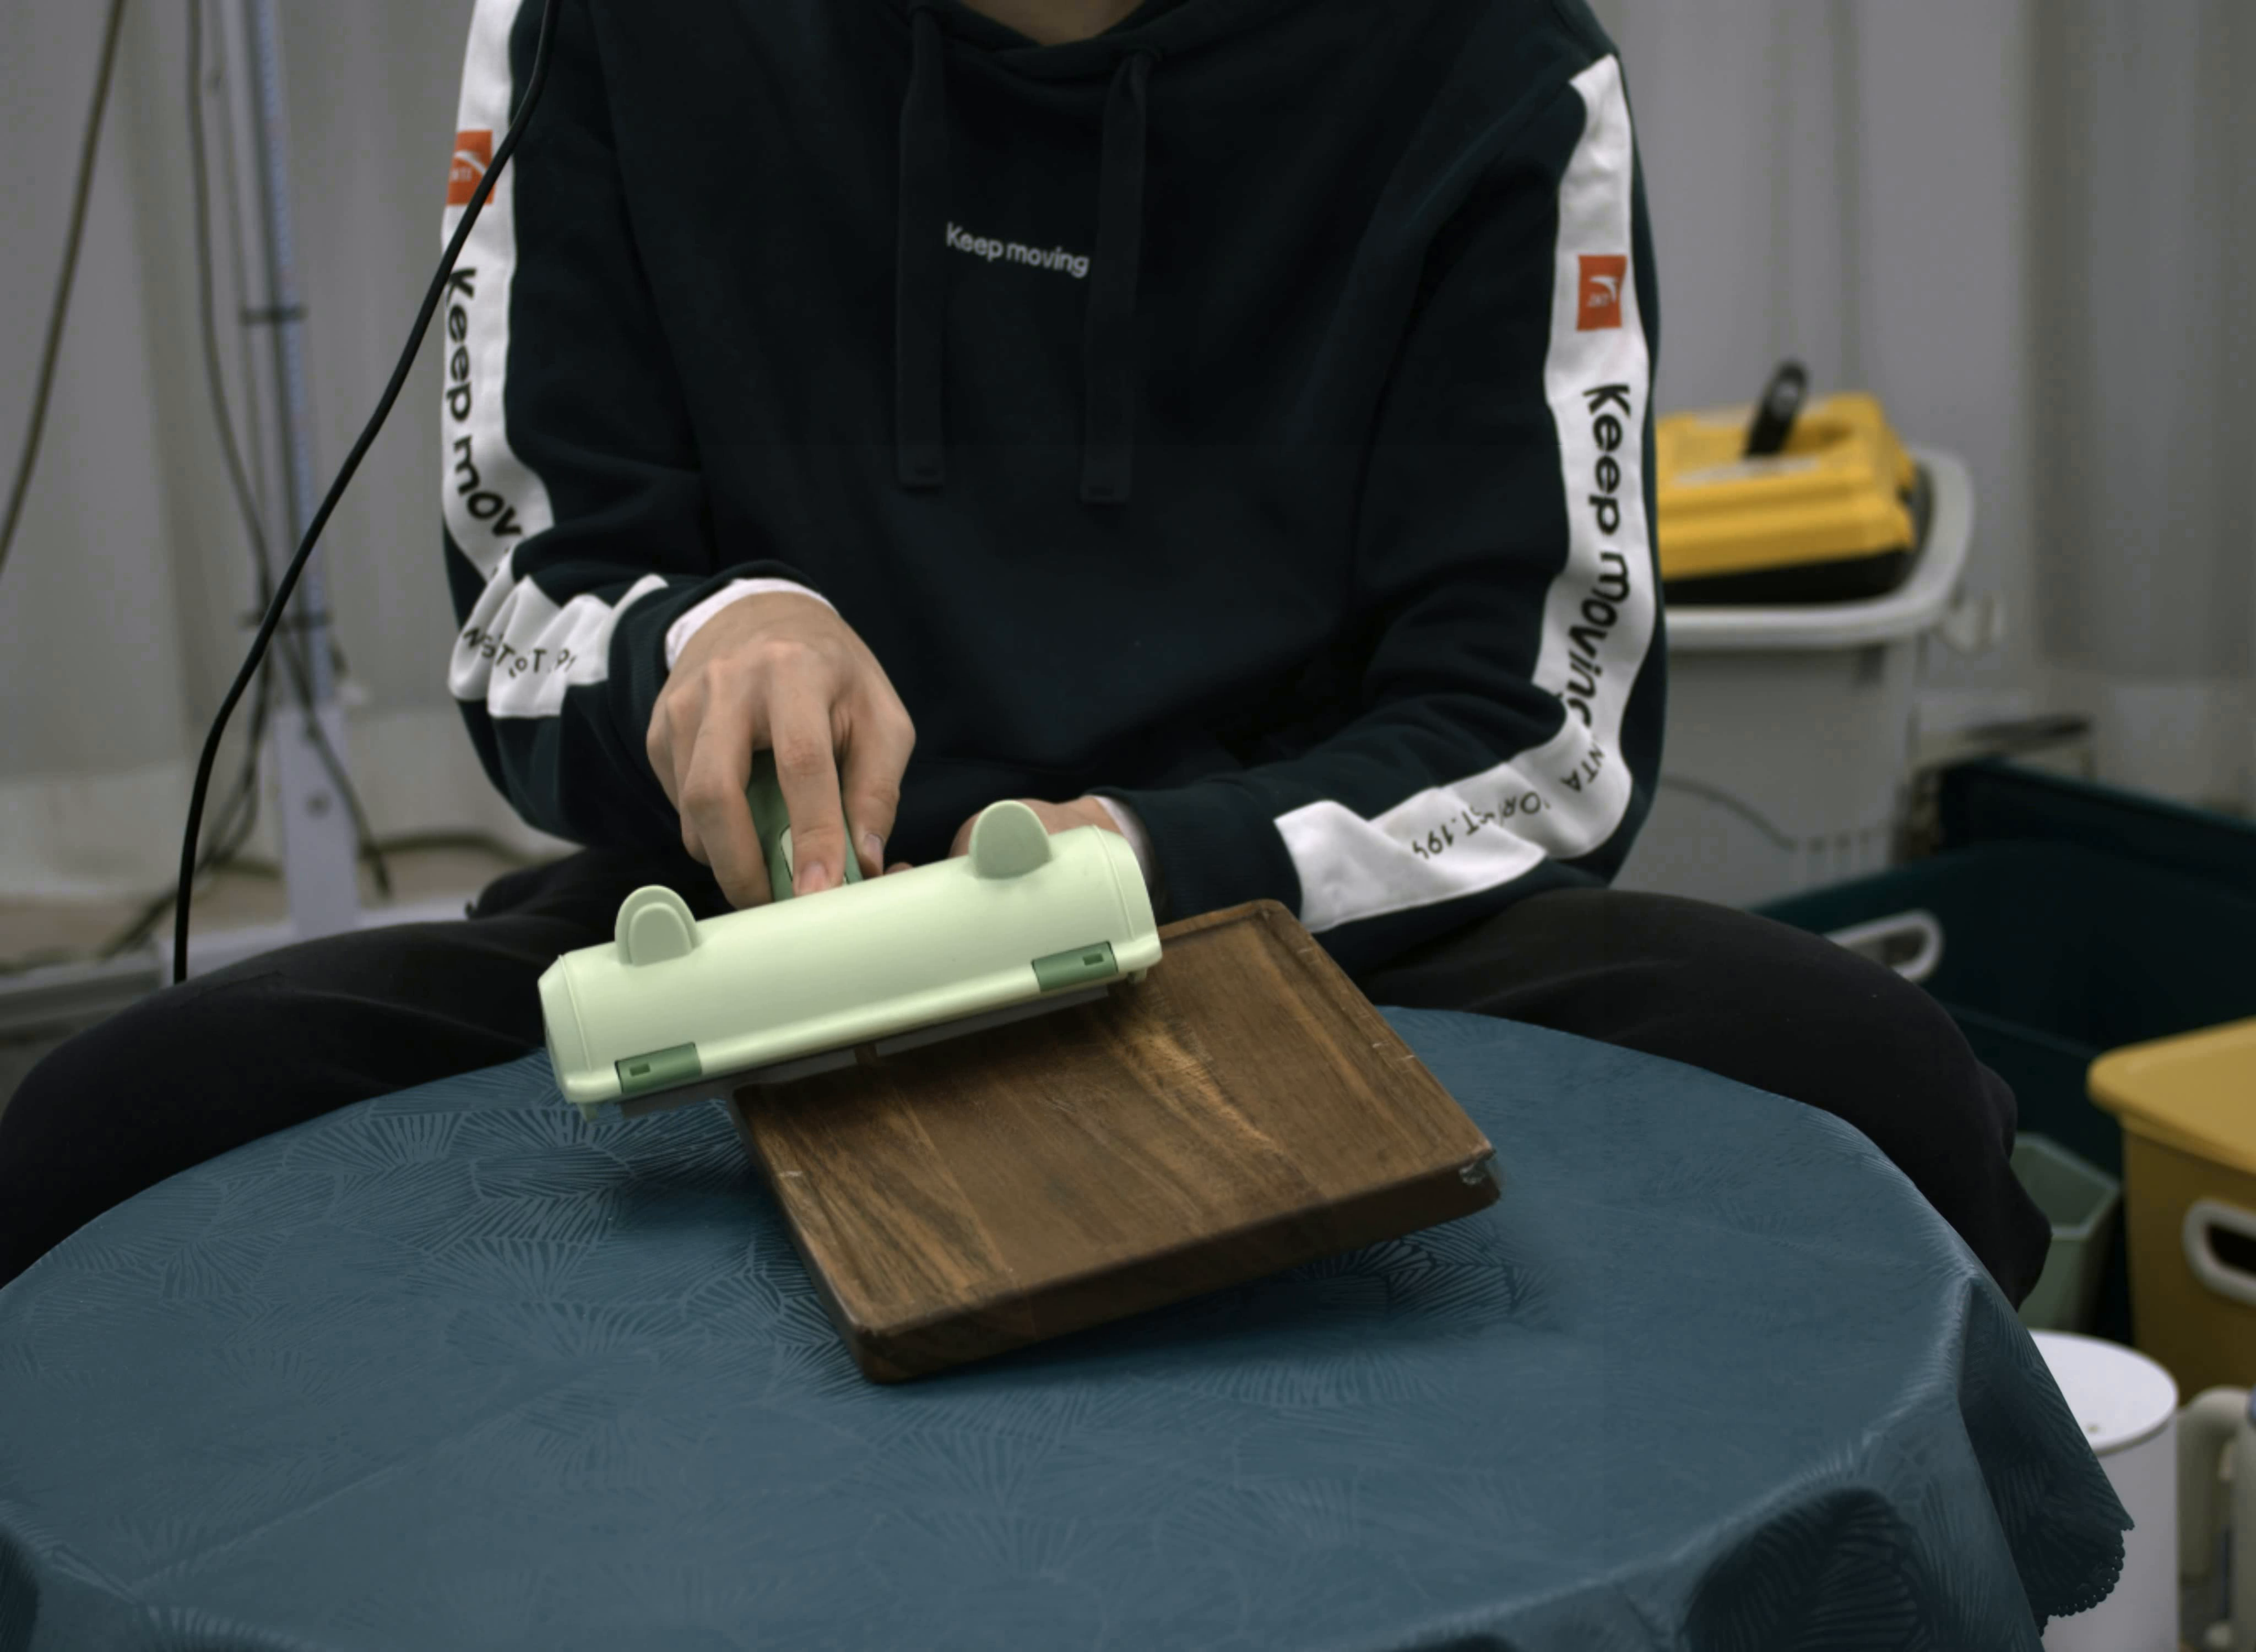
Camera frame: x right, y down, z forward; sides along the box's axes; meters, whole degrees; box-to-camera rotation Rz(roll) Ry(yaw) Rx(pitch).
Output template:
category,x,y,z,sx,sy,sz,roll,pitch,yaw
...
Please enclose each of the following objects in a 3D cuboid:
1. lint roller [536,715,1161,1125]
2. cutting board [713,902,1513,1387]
category,x,y,z,sx,sy,sz,roll,pitch,yaw
lint roller,-0.104,0.006,1.782,0.198,0.081,0.186,-14,45,-8
cutting board,-0.024,0.079,1.730,0.200,0.023,0.355,-16,19,-10
